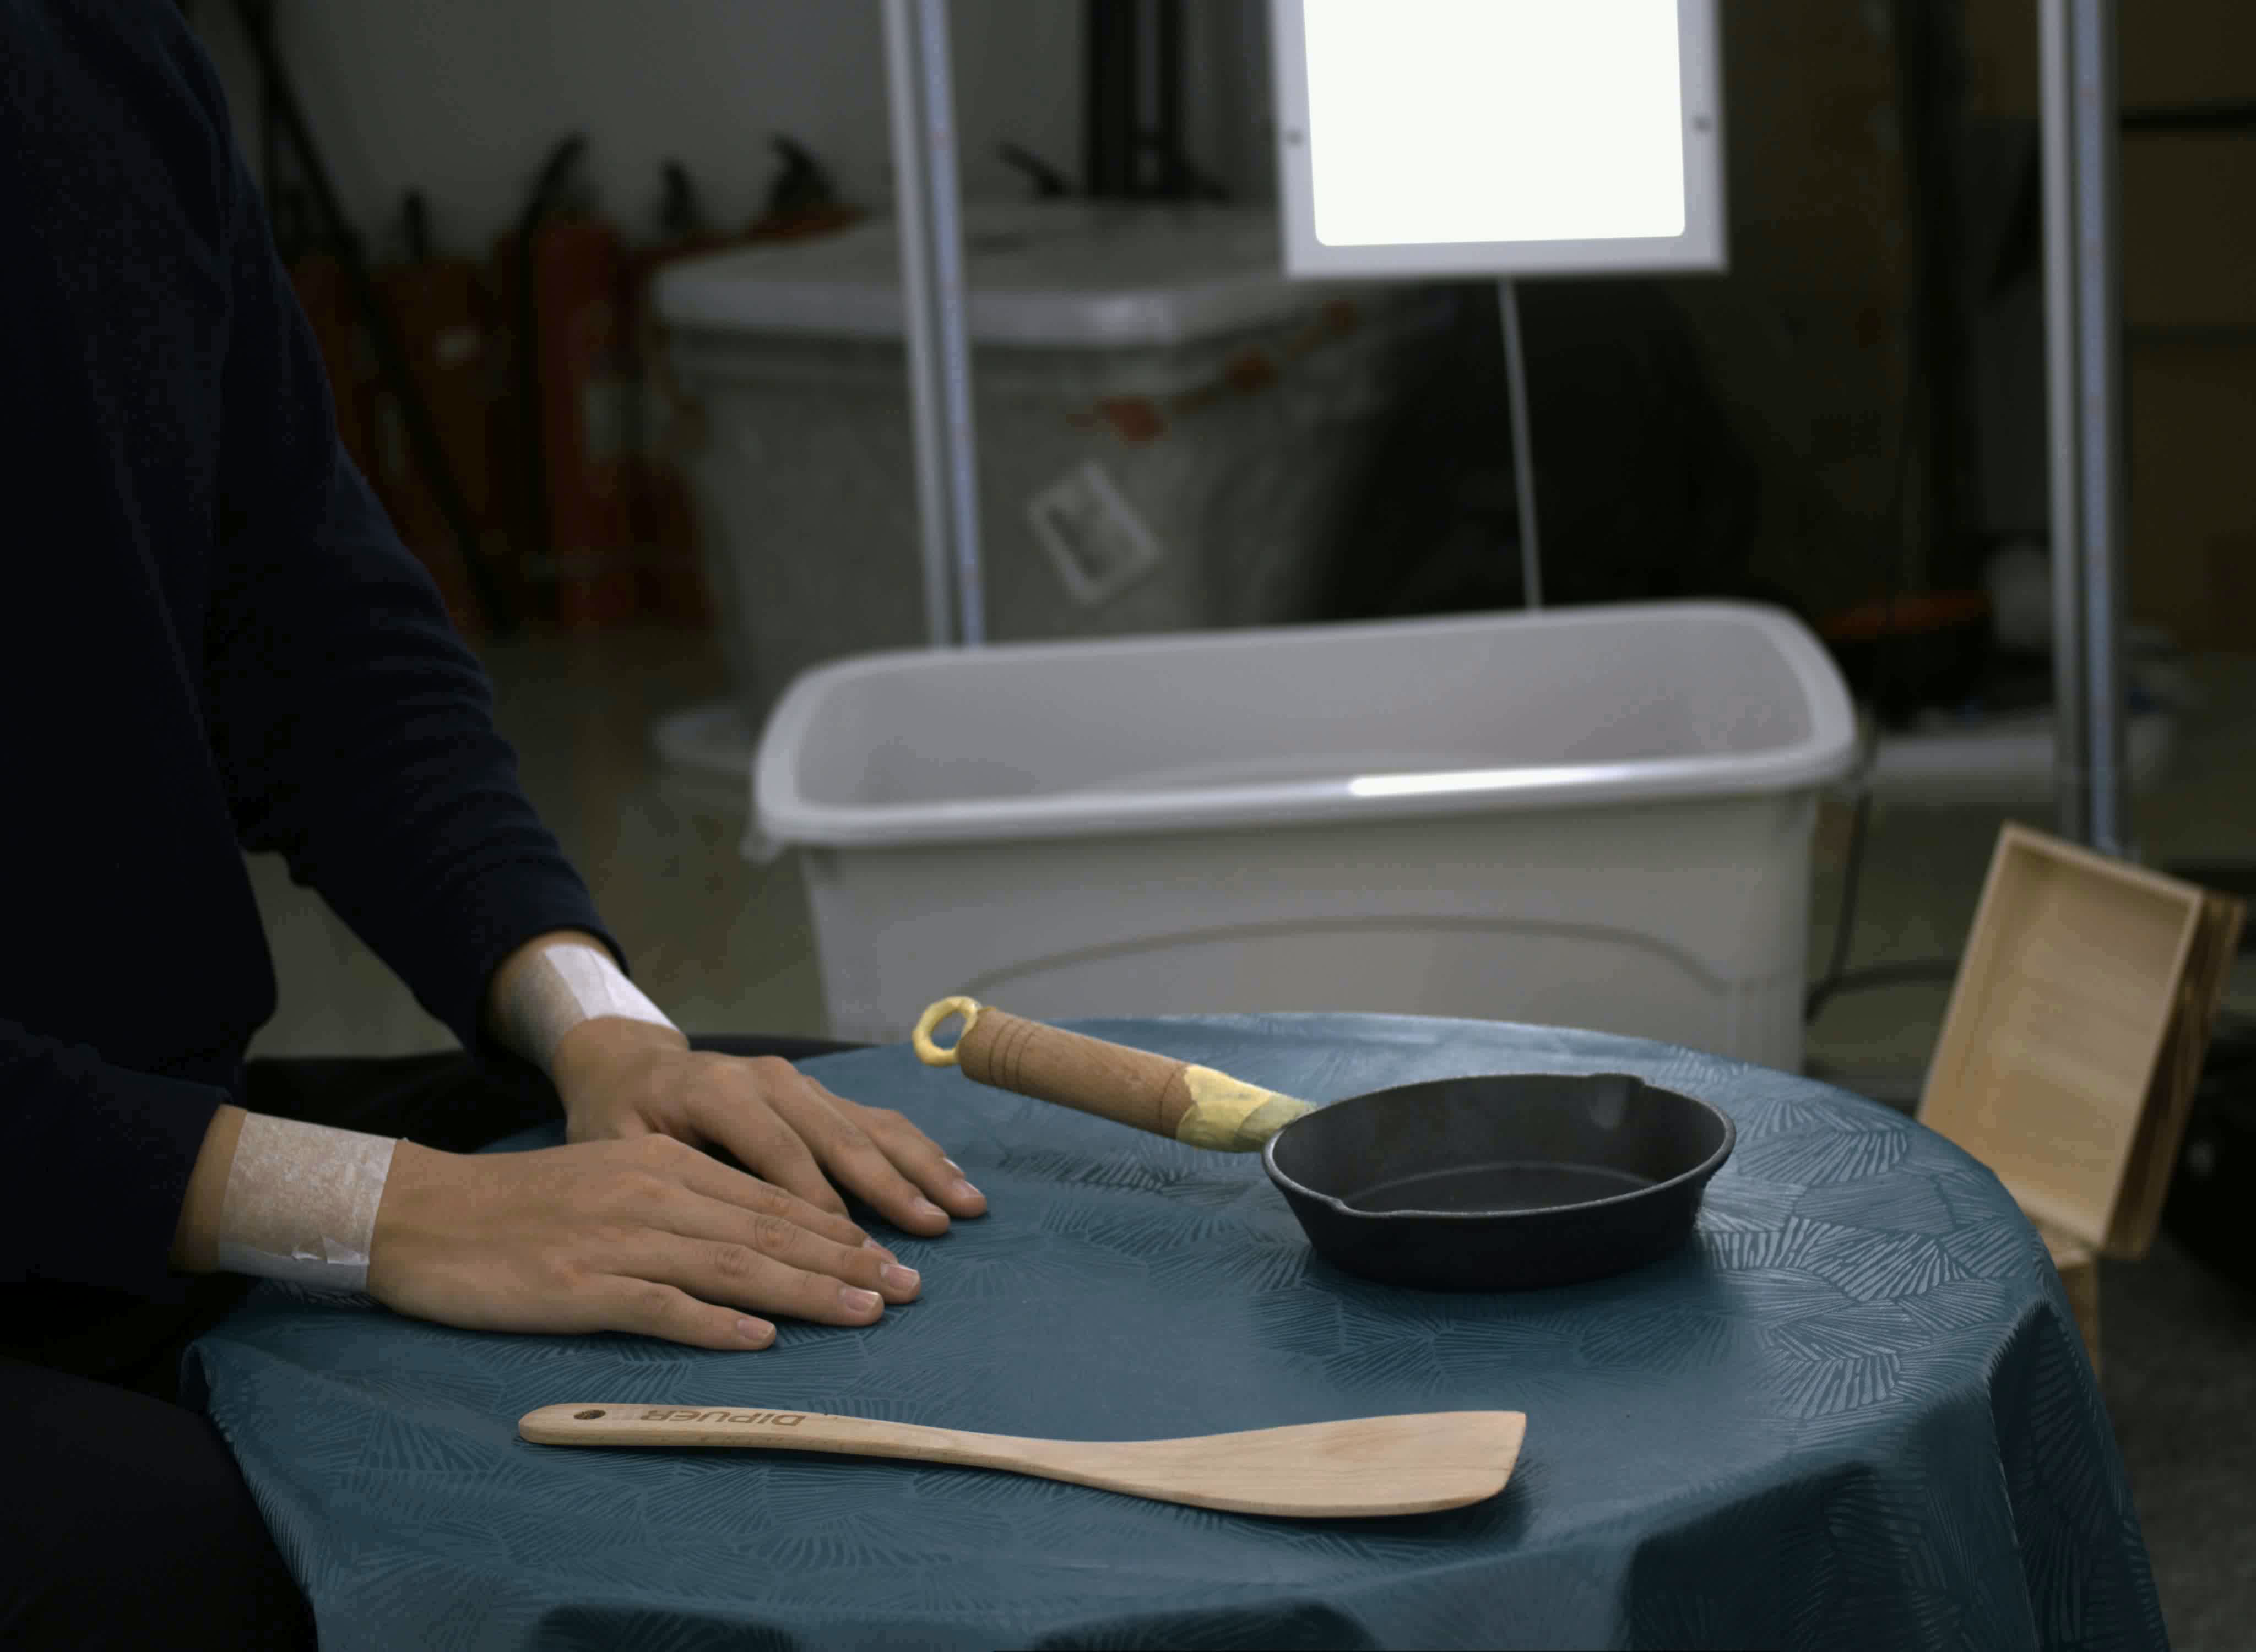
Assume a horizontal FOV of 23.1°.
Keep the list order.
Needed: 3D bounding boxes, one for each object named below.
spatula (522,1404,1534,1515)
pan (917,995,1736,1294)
[{"bbox_3d":[-0.033,0.183,1.646,0.332,0.016,0.078,1,14,23],"label":"spatula"},{"bbox_3d":[0.057,0.102,1.869,0.331,0.050,0.164,8,19,39],"label":"pan"}]
